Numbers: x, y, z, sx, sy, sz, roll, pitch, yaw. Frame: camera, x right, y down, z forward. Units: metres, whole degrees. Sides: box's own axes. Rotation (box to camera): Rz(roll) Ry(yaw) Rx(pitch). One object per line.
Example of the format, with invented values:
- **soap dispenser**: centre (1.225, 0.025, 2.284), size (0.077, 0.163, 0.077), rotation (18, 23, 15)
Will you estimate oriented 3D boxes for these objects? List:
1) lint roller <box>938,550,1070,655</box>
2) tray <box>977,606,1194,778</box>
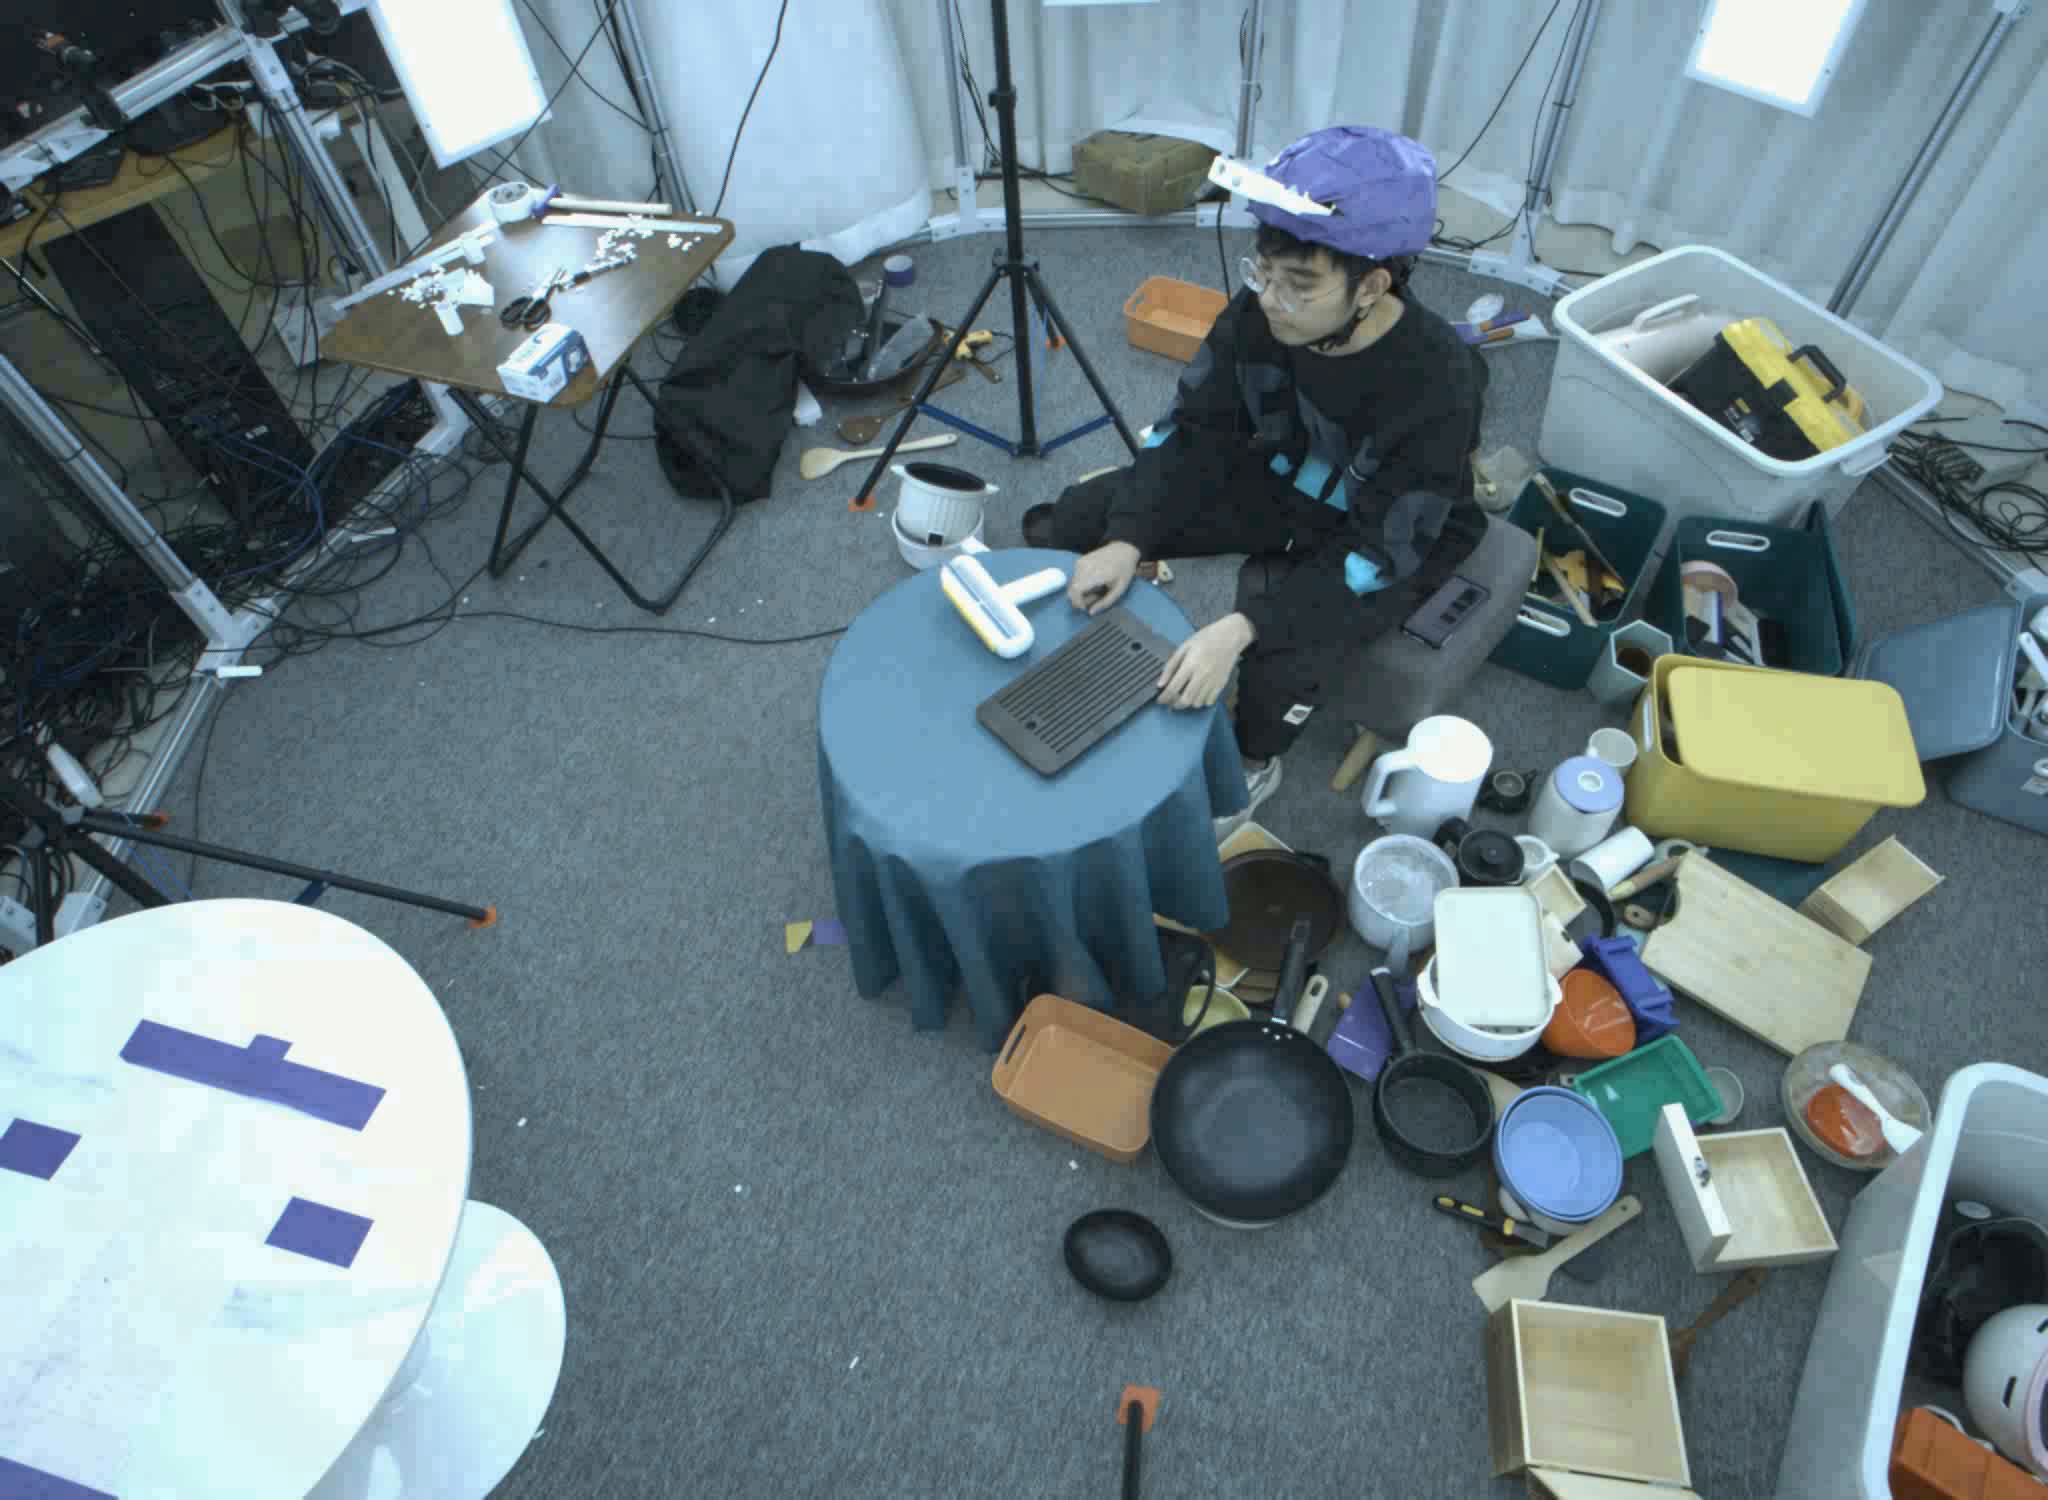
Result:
- **lint roller**: centre (-0.014, -0.248, 1.918), size (0.194, 0.075, 0.189), rotation (-28, 63, -18)
- **tray**: centre (0.093, -0.090, 1.833), size (0.308, 0.019, 0.167), rotation (-37, 61, -22)
